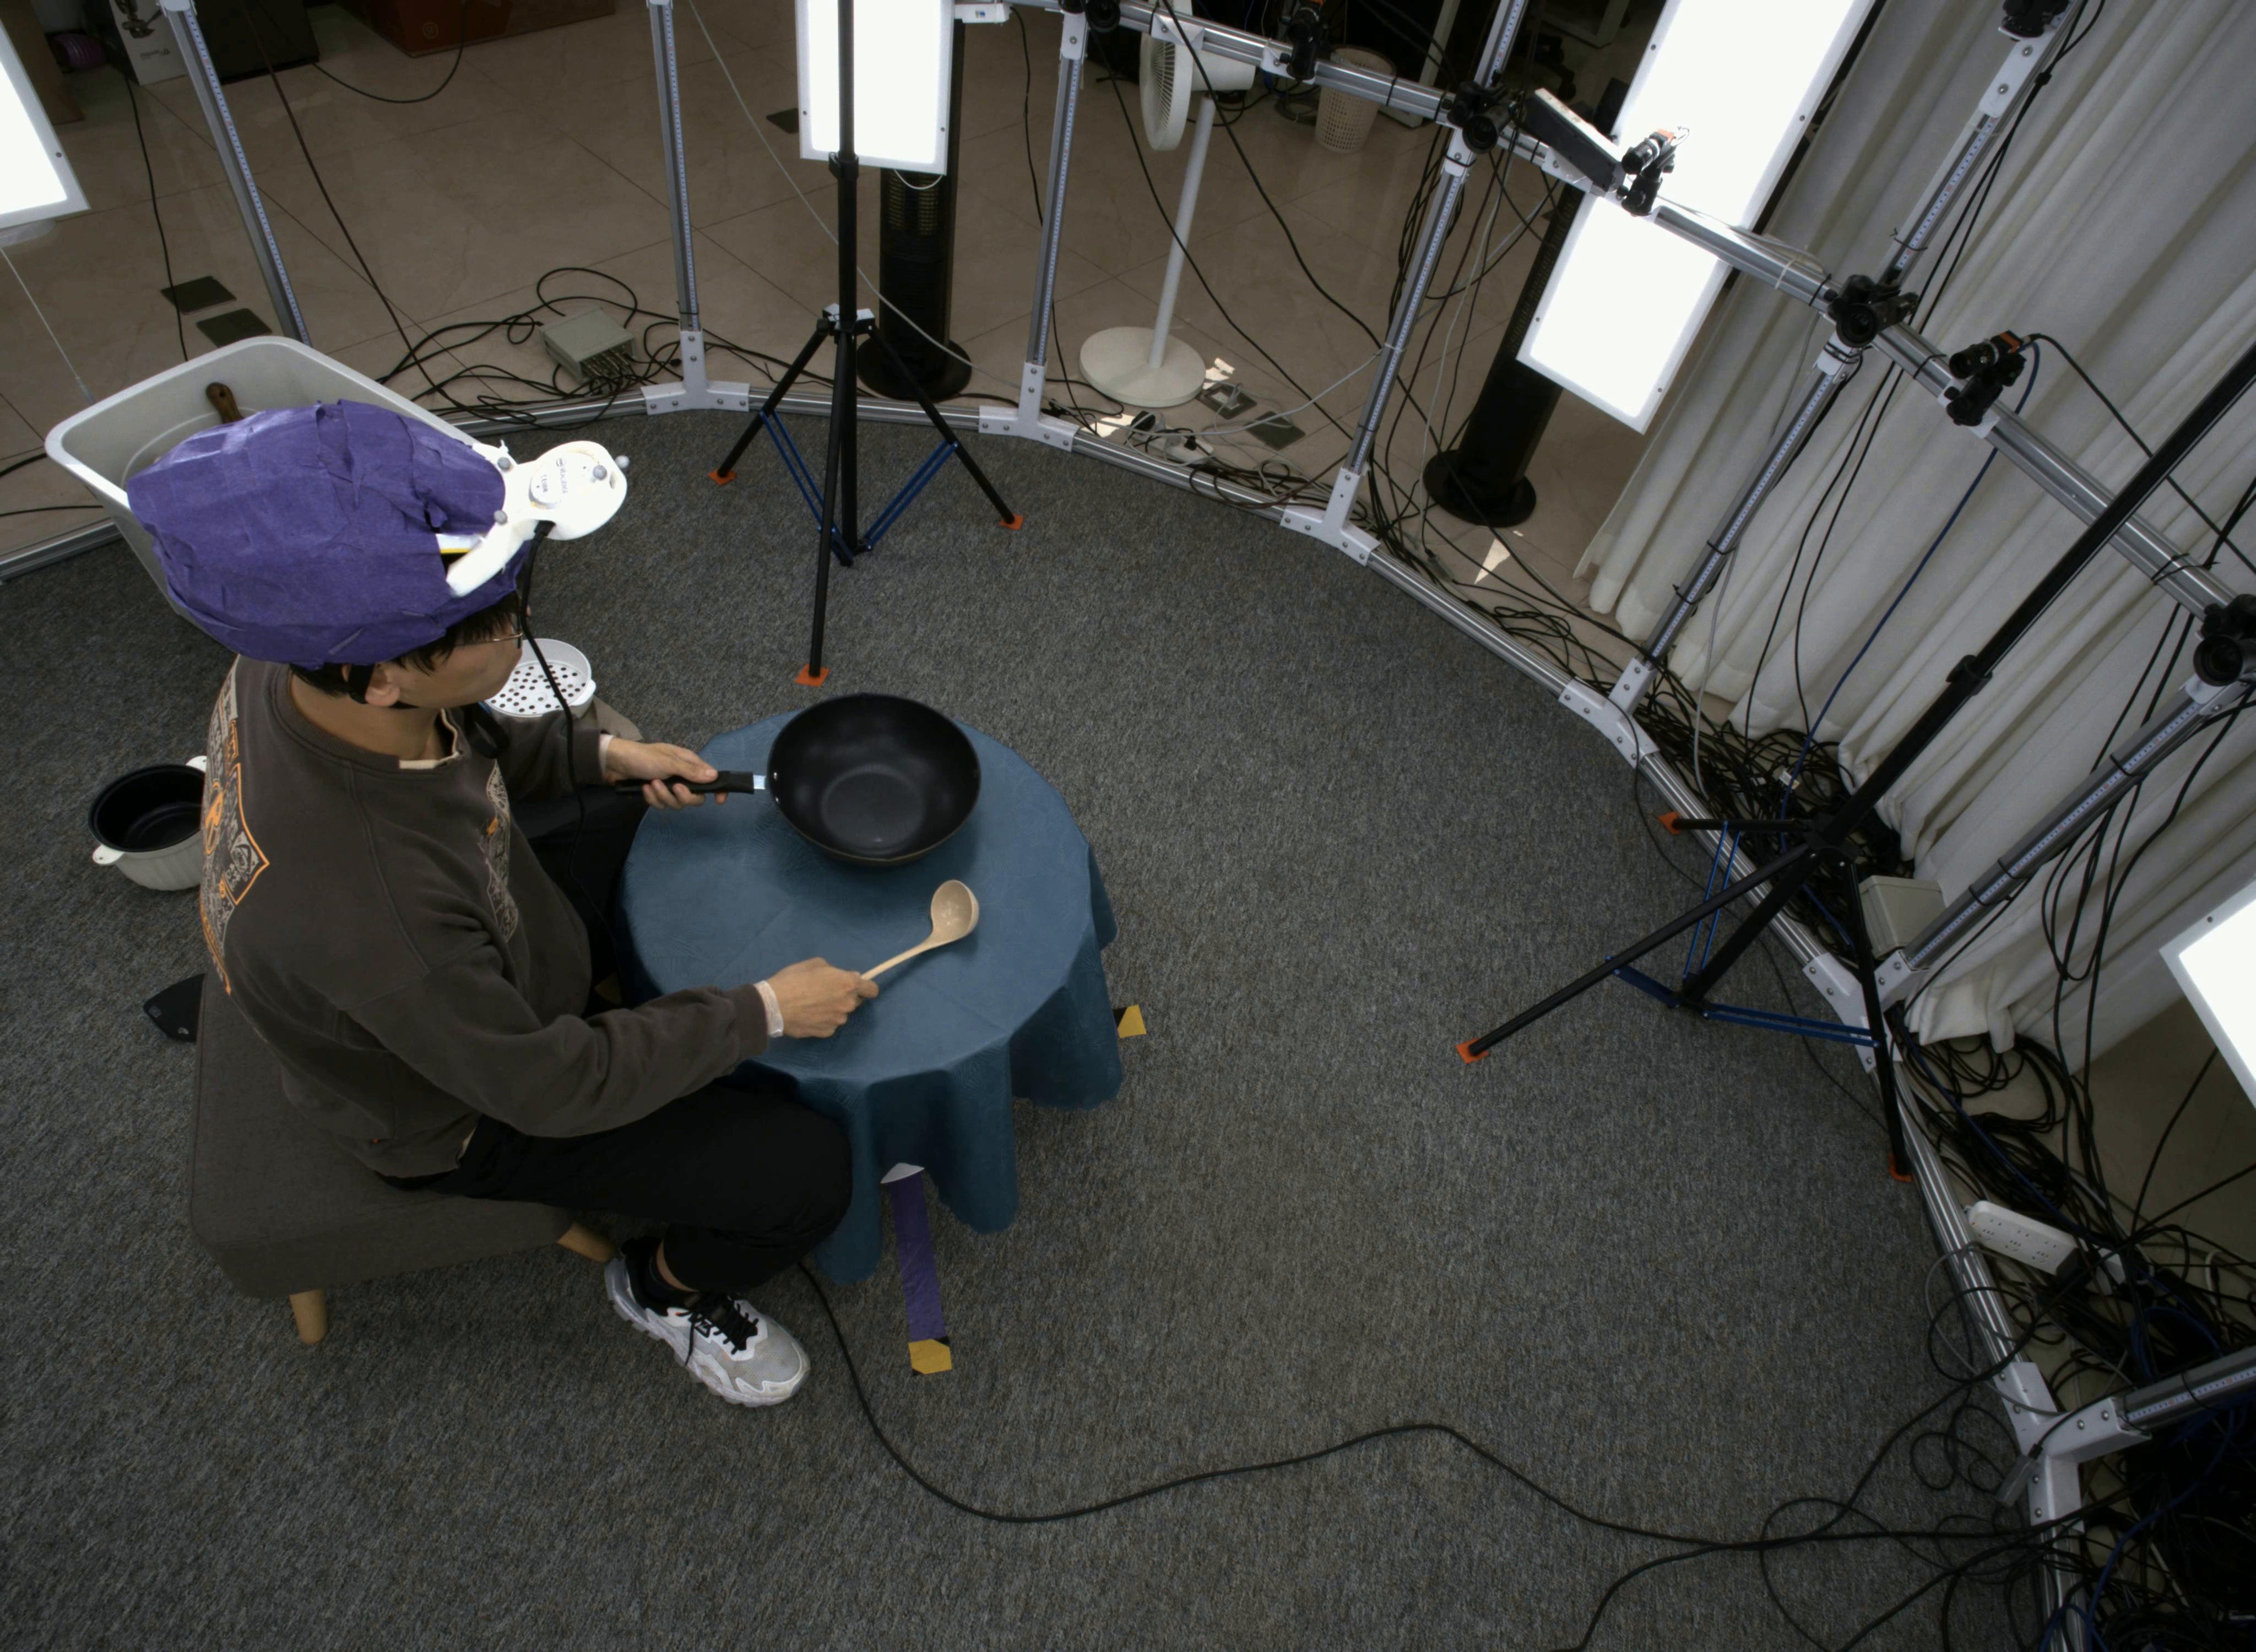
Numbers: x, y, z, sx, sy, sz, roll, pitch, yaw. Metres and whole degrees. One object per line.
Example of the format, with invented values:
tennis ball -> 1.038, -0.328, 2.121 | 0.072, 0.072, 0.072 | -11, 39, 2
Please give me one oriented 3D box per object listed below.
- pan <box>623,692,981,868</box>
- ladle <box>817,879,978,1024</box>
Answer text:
pan -> -0.424, -0.042, 1.712 | 0.464, 0.088, 0.281 | -4, 55, -17
ladle -> -0.287, 0.146, 1.600 | 0.069, 0.075, 0.255 | 27, 42, 29
